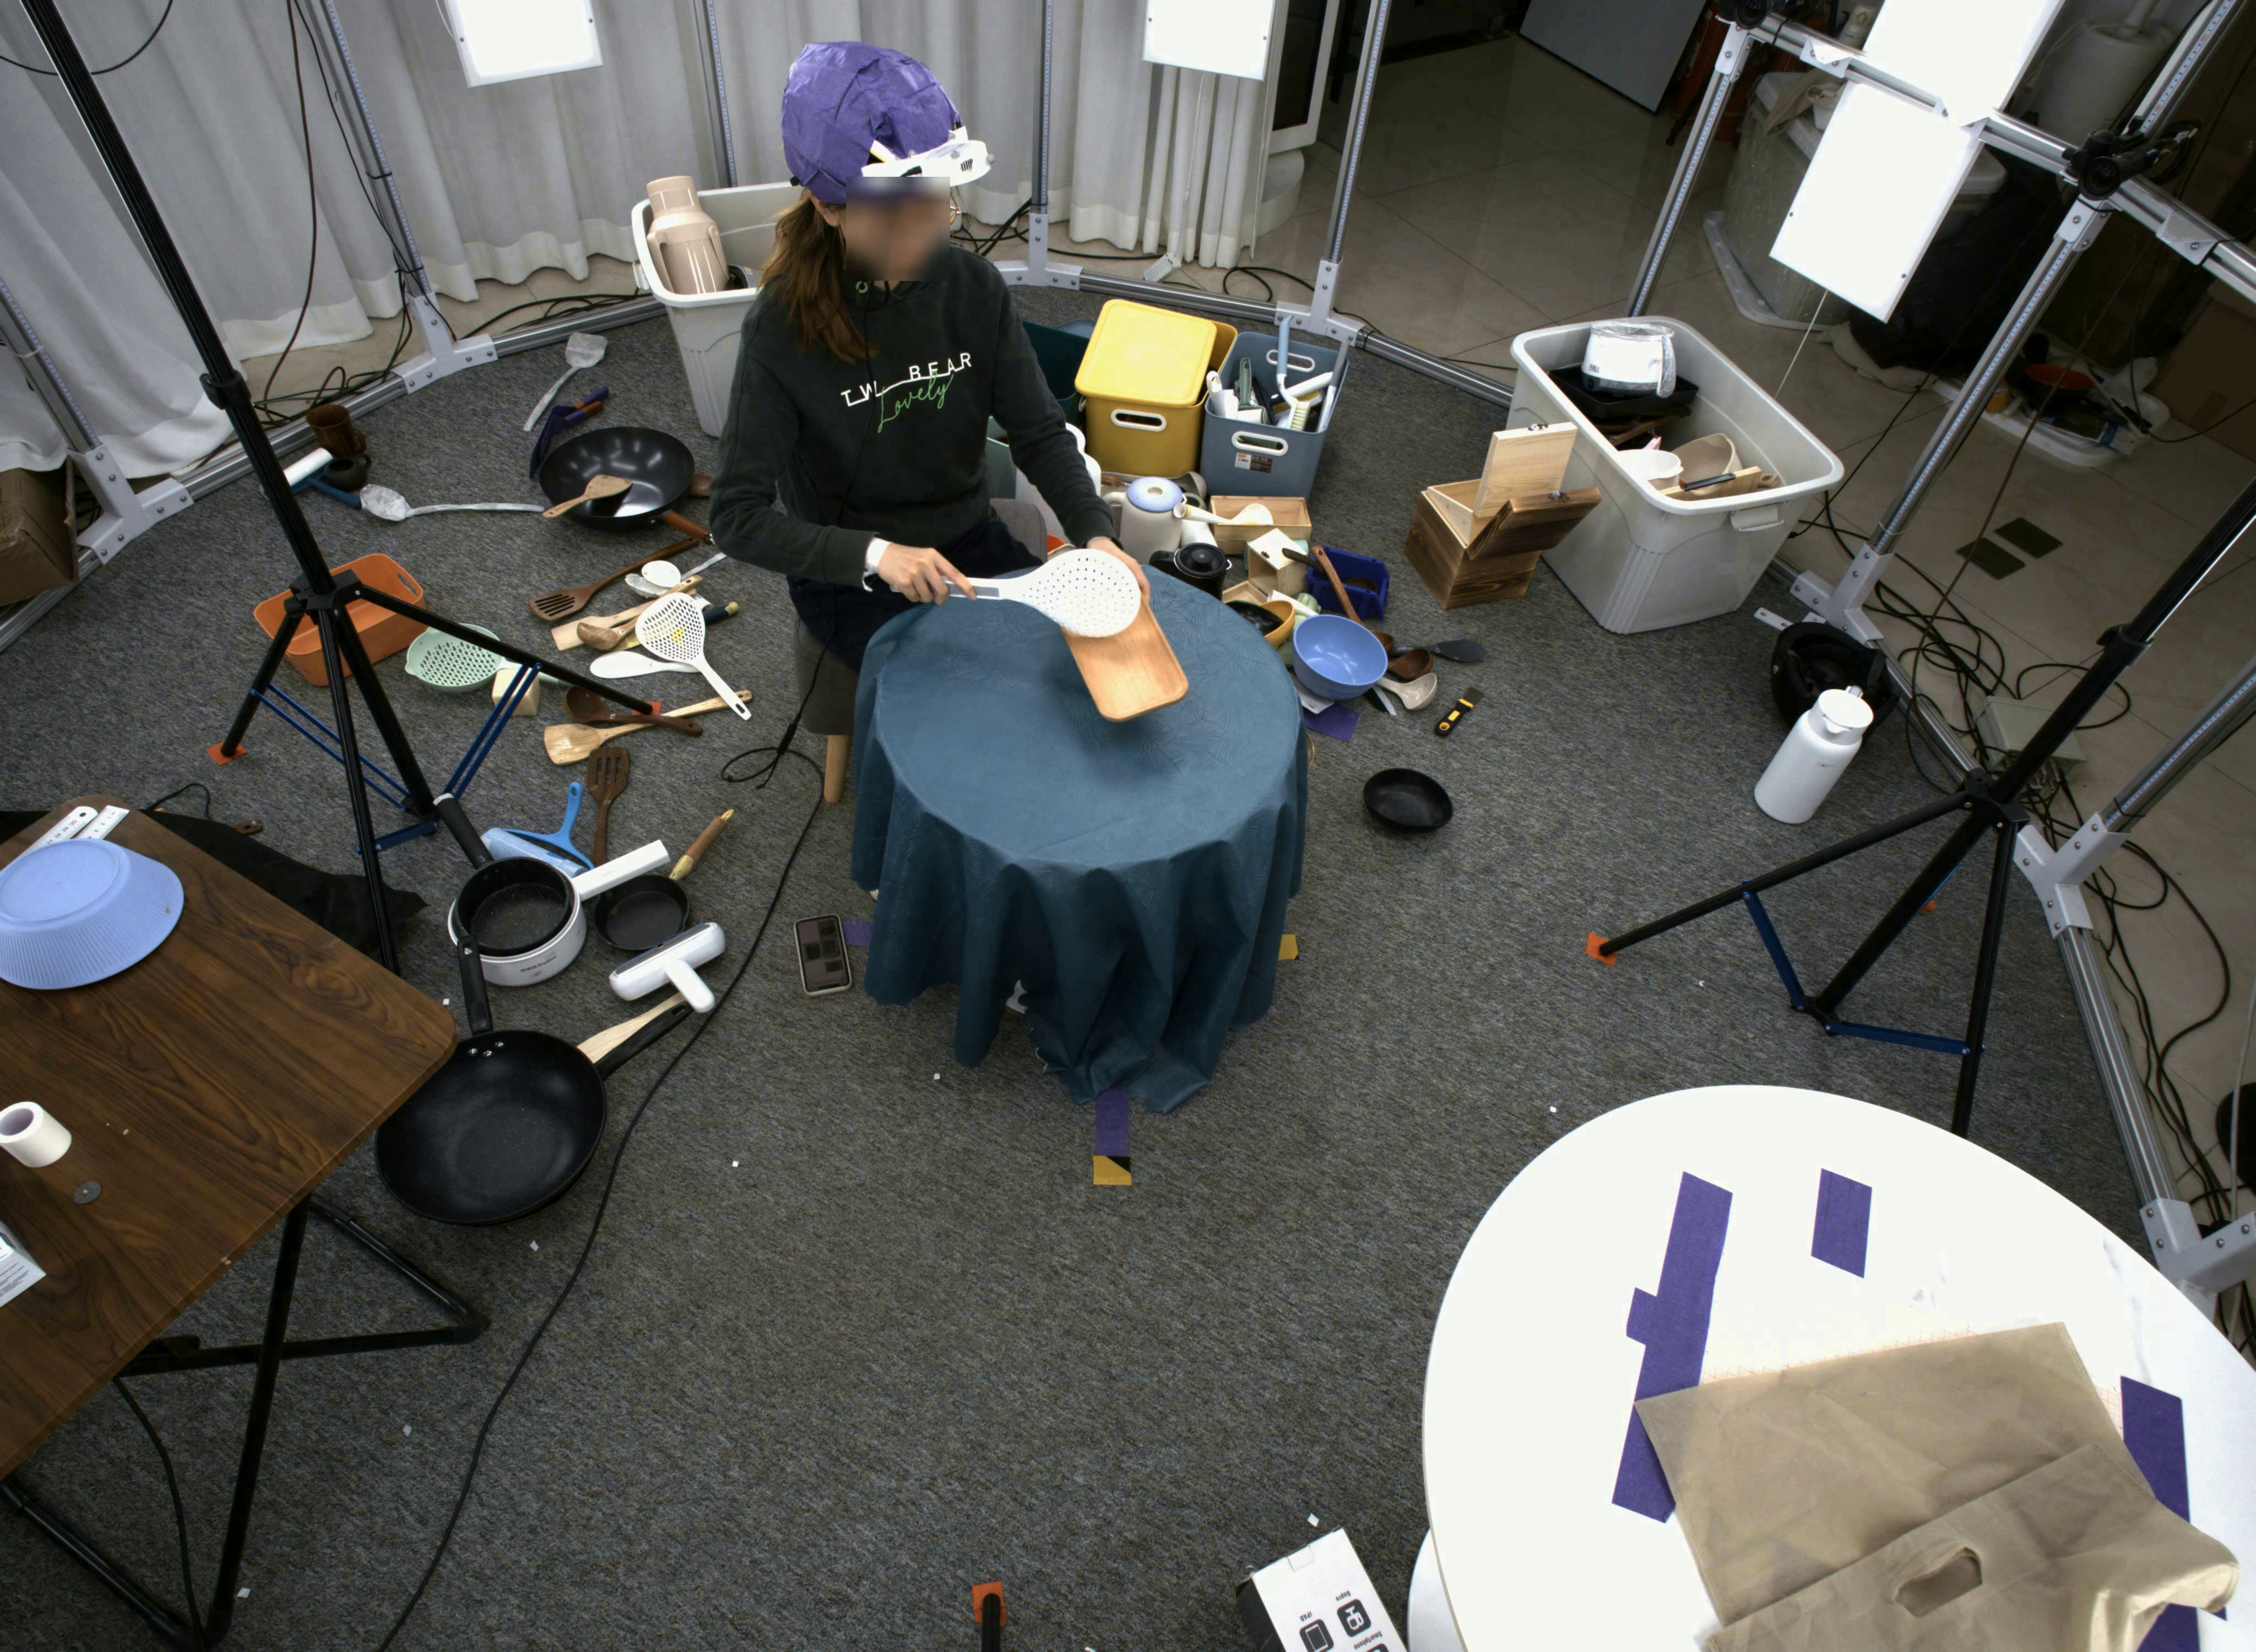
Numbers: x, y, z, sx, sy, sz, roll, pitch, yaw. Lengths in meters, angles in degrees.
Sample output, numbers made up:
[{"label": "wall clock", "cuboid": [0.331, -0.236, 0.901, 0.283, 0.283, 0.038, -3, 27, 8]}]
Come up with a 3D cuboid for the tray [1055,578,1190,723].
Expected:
[{"label": "tray", "cuboid": [-0.010, -0.248, 1.792, 0.130, 0.022, 0.256, -18, 54, -8]}]

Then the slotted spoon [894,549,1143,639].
[{"label": "slotted spoon", "cuboid": [-0.154, -0.321, 1.777, 0.351, 0.133, 0.046, 8, 38, 15]}]
